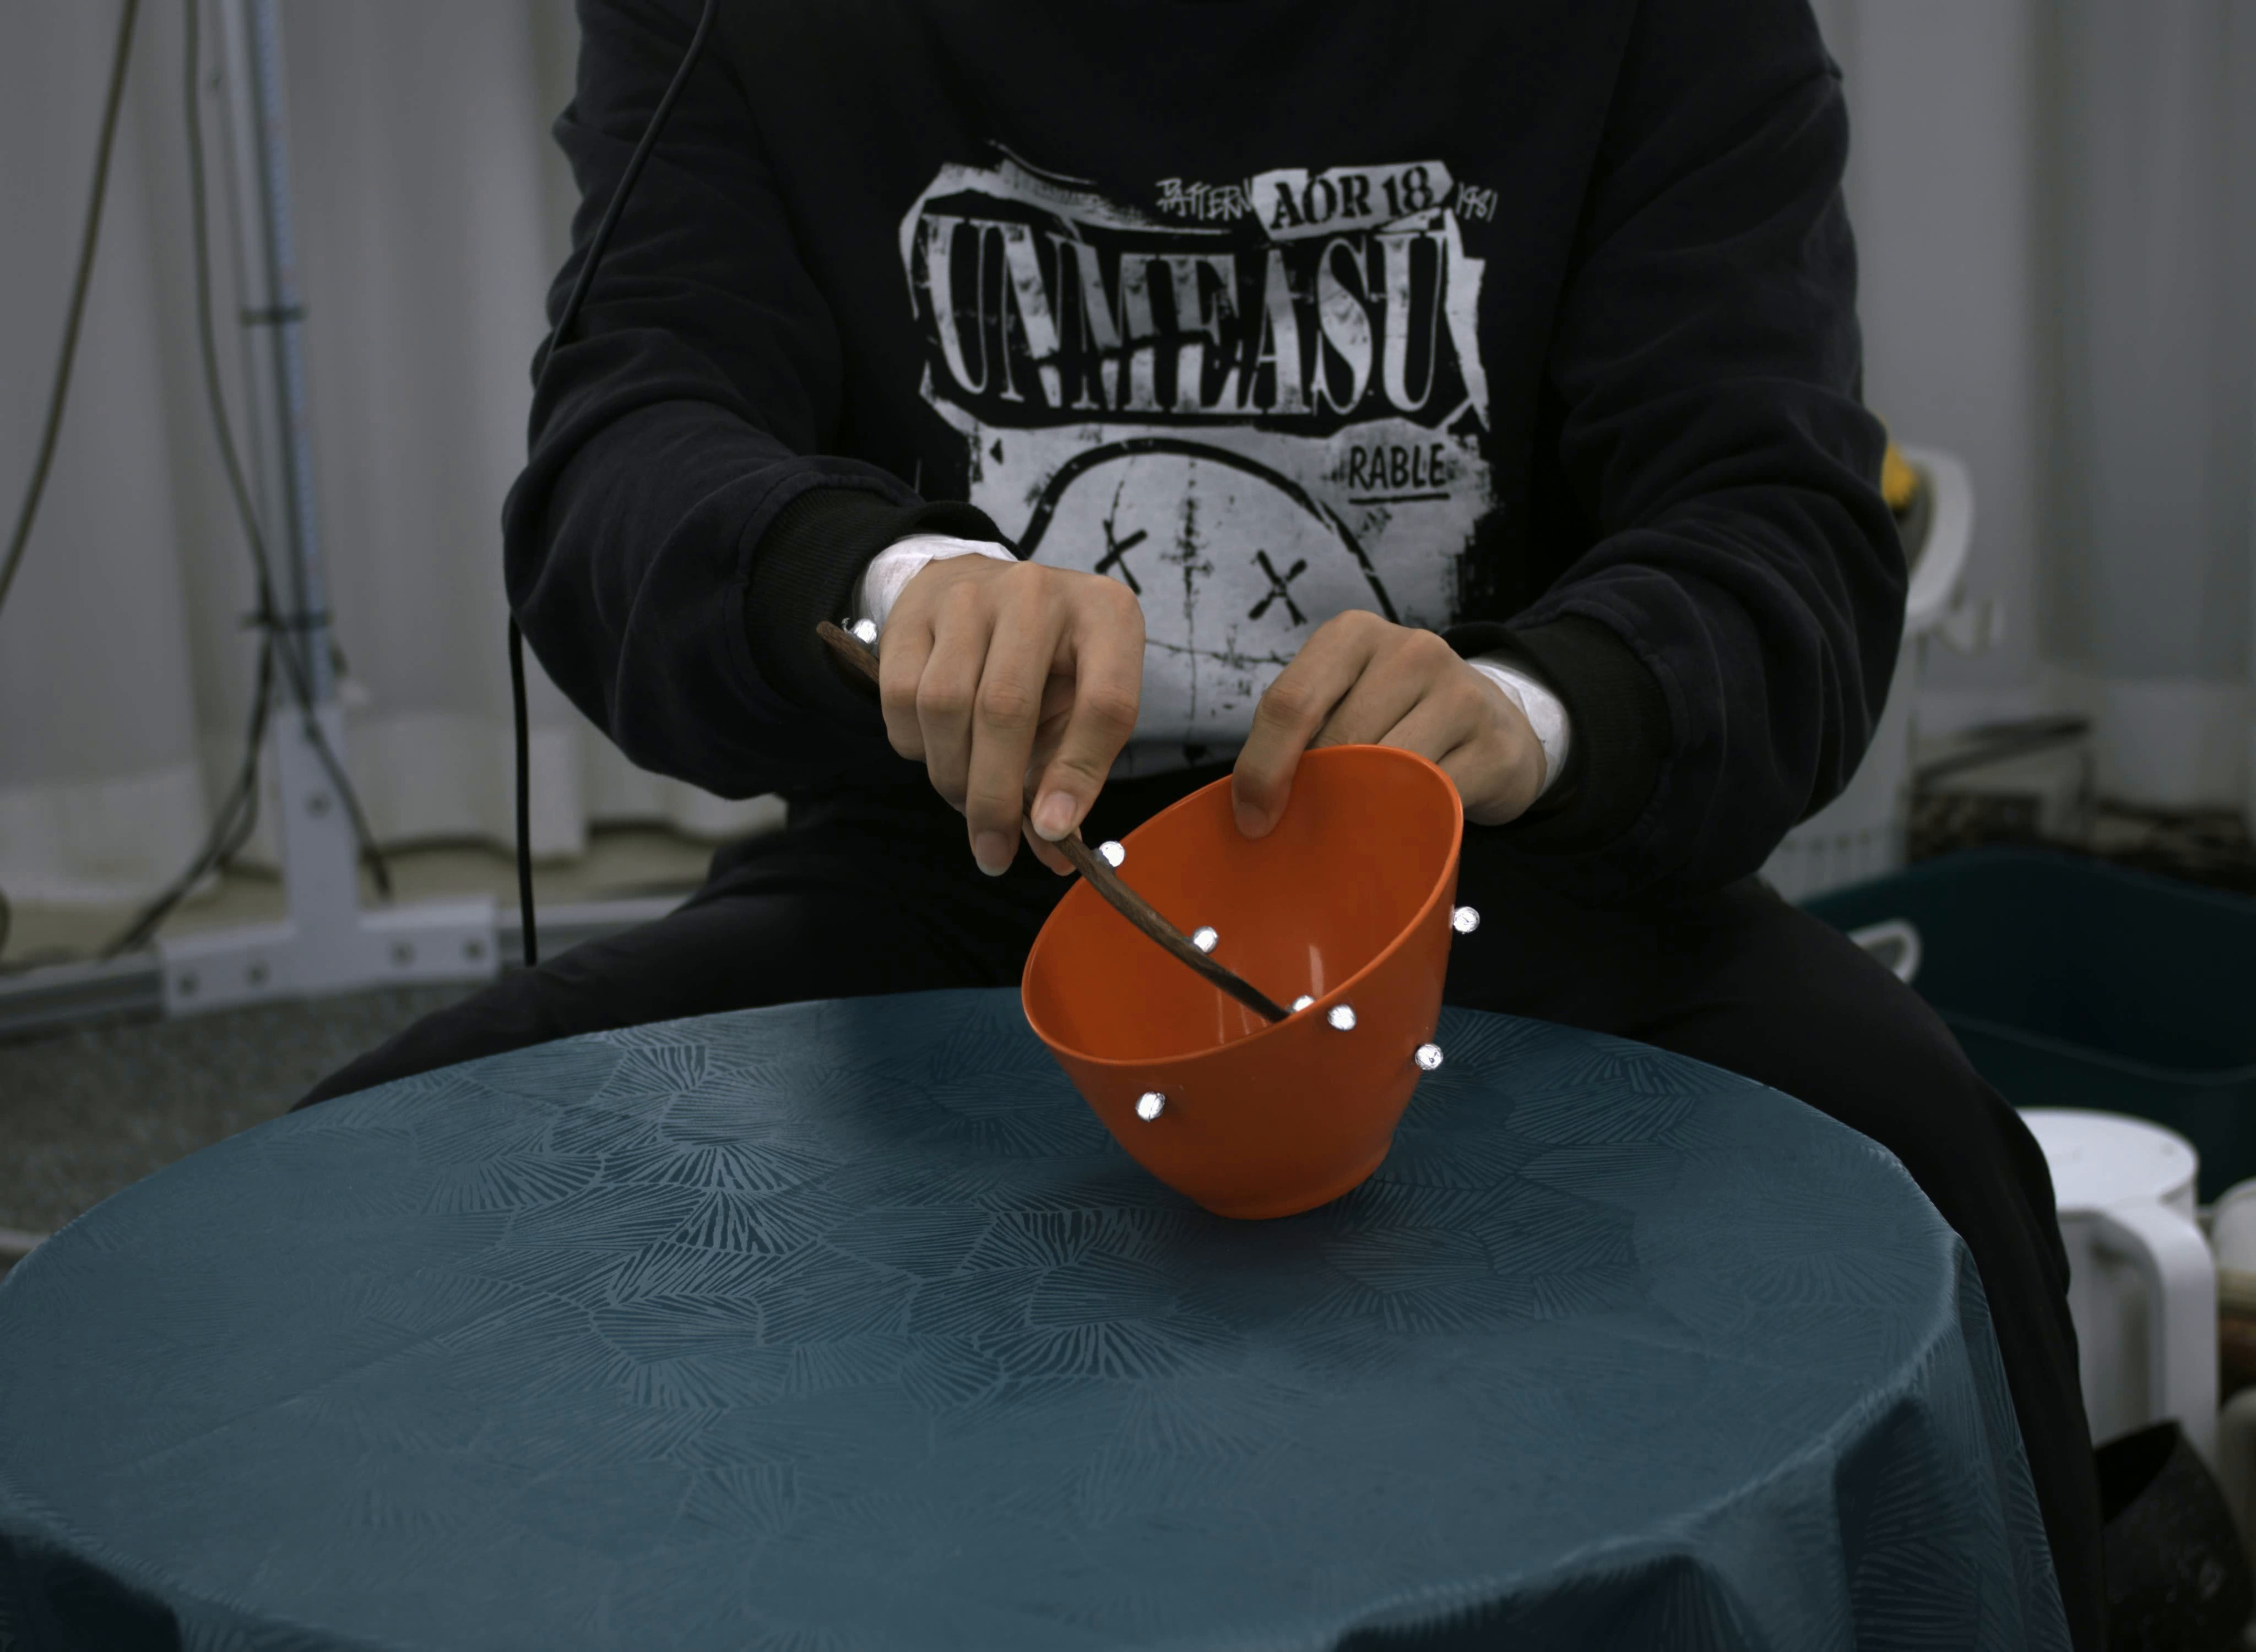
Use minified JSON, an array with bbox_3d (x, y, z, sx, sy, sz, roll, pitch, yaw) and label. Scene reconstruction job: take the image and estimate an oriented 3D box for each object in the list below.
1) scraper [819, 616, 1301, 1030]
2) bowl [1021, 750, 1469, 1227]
[{"bbox_3d":[-0.024,-0.002,1.659,0.213,0.011,0.075,41,1,31],"label":"scraper"},{"bbox_3d":[0.046,0.058,1.683,0.147,0.103,0.150,-14,28,7],"label":"bowl"}]
